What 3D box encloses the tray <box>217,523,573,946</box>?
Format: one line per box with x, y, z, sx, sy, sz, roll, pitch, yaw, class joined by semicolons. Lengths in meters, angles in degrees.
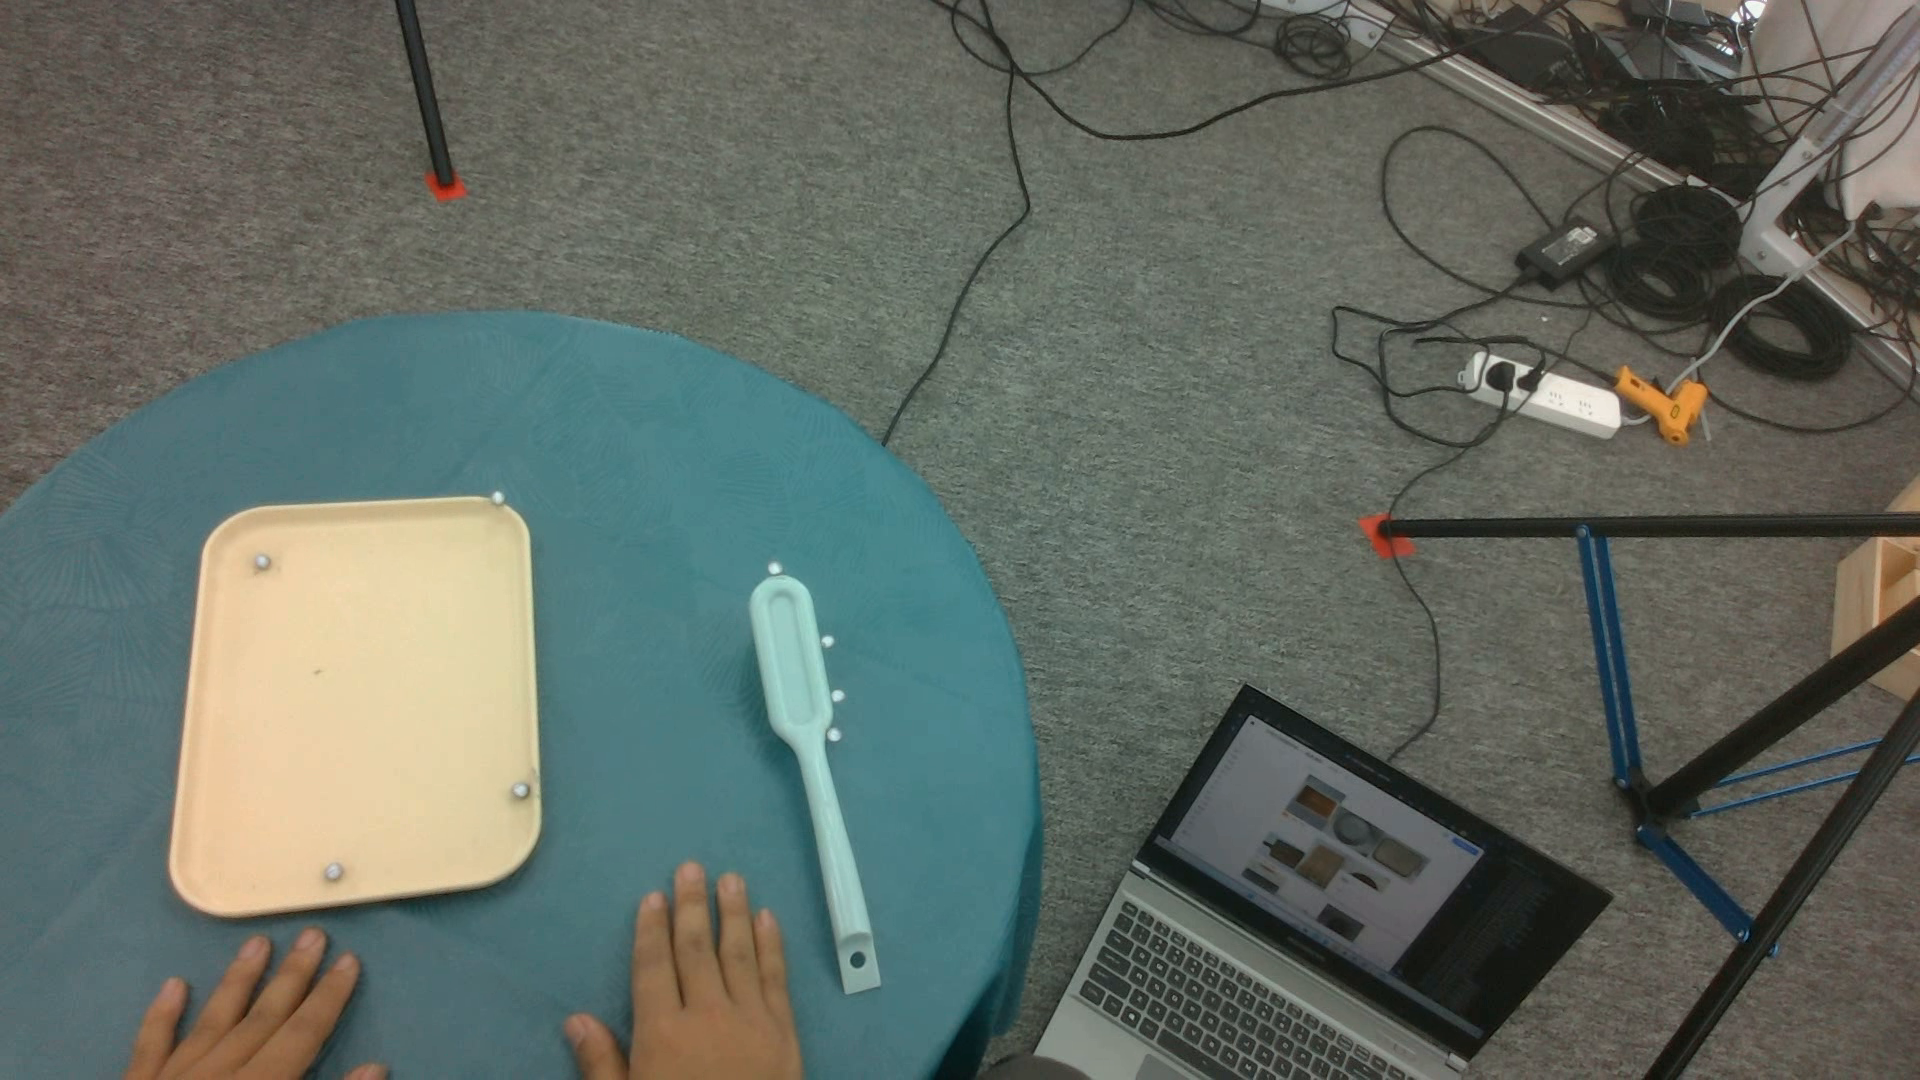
-0.307;0.097;0.752;0.171;0.017;0.240;-6;56;-15;tray

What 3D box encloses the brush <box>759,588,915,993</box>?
-0.067;0.136;0.764;0.038;0.049;0.229;-15;67;-13;brush
